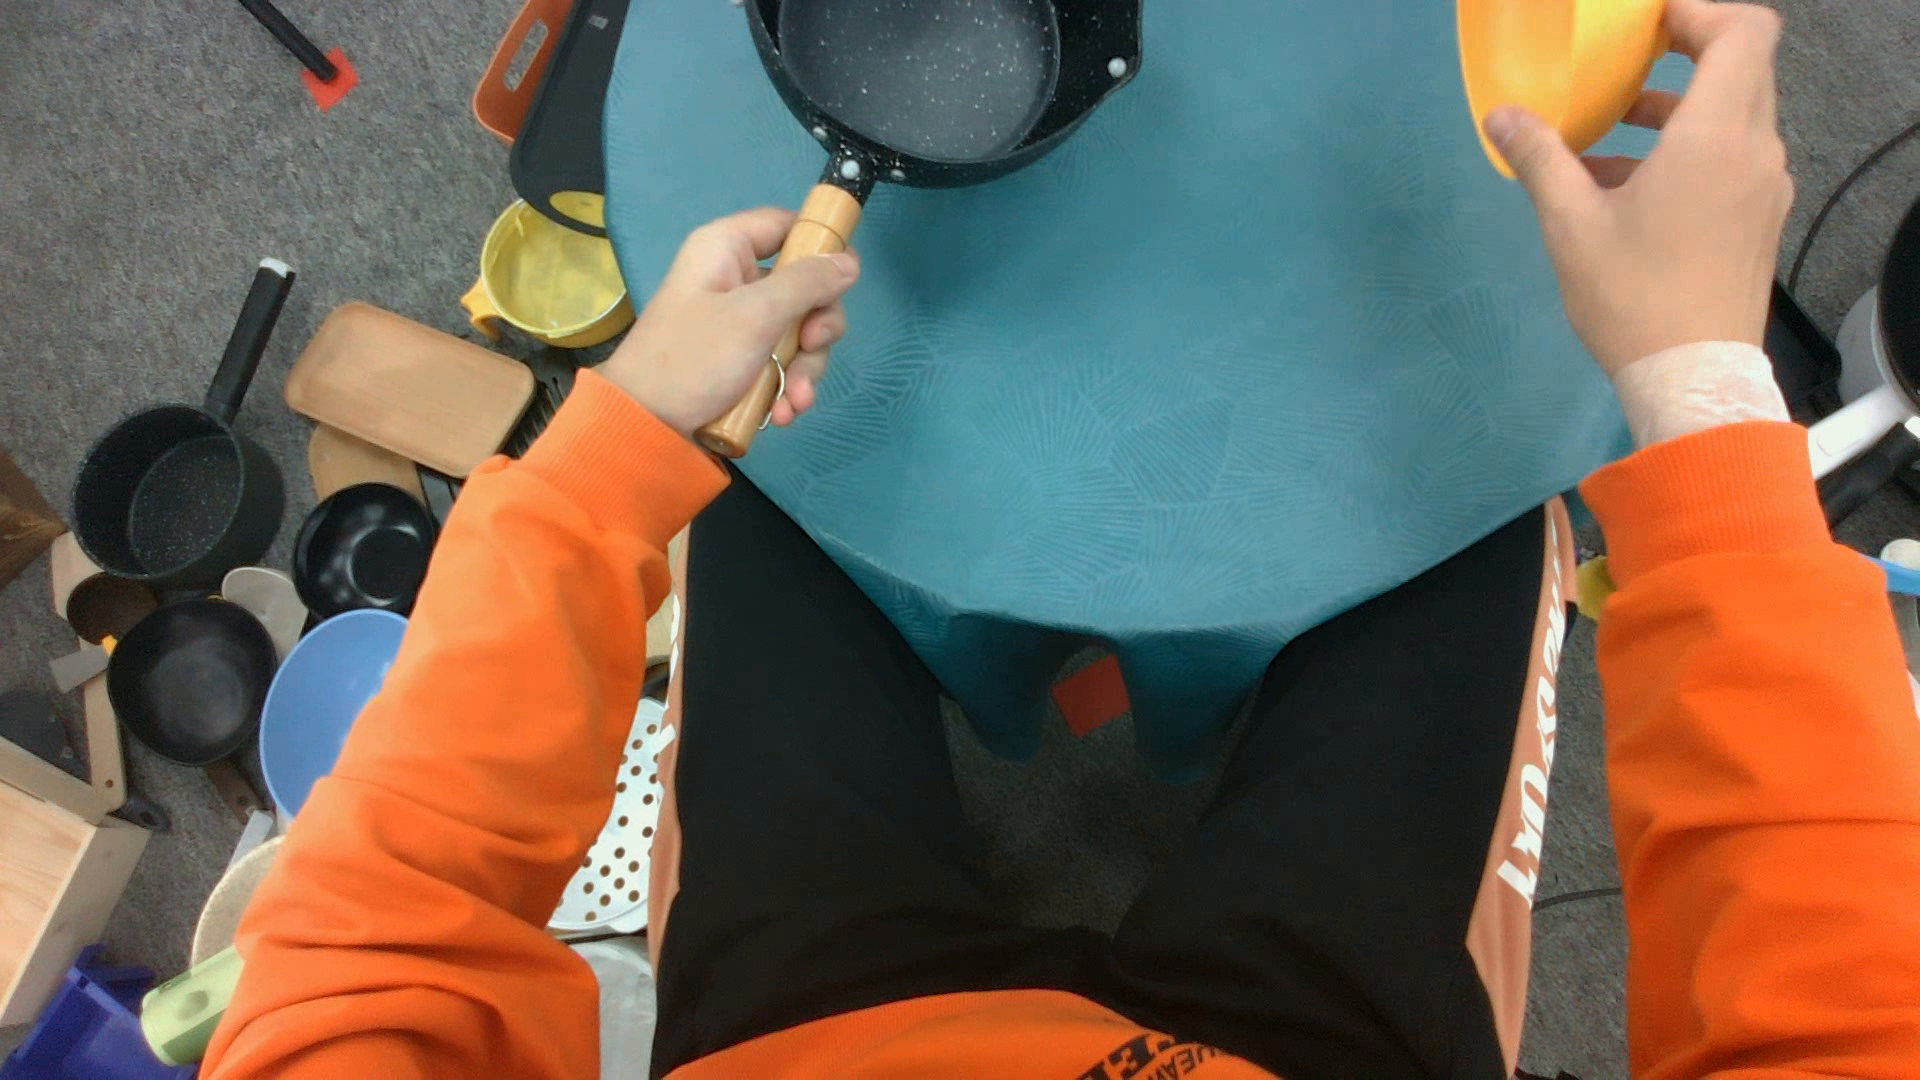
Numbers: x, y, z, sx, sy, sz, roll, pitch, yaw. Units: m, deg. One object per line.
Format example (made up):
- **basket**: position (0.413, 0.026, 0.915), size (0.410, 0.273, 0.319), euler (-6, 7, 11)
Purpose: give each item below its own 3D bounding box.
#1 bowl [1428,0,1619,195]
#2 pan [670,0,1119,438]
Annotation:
- **bowl**: position (0.245, -0.228, 0.599), size (0.060, 0.145, 0.145), euler (-10, 76, 12)
- **pan**: position (-0.052, -0.195, 0.646), size (0.207, 0.108, 0.343), euler (24, 80, -10)
